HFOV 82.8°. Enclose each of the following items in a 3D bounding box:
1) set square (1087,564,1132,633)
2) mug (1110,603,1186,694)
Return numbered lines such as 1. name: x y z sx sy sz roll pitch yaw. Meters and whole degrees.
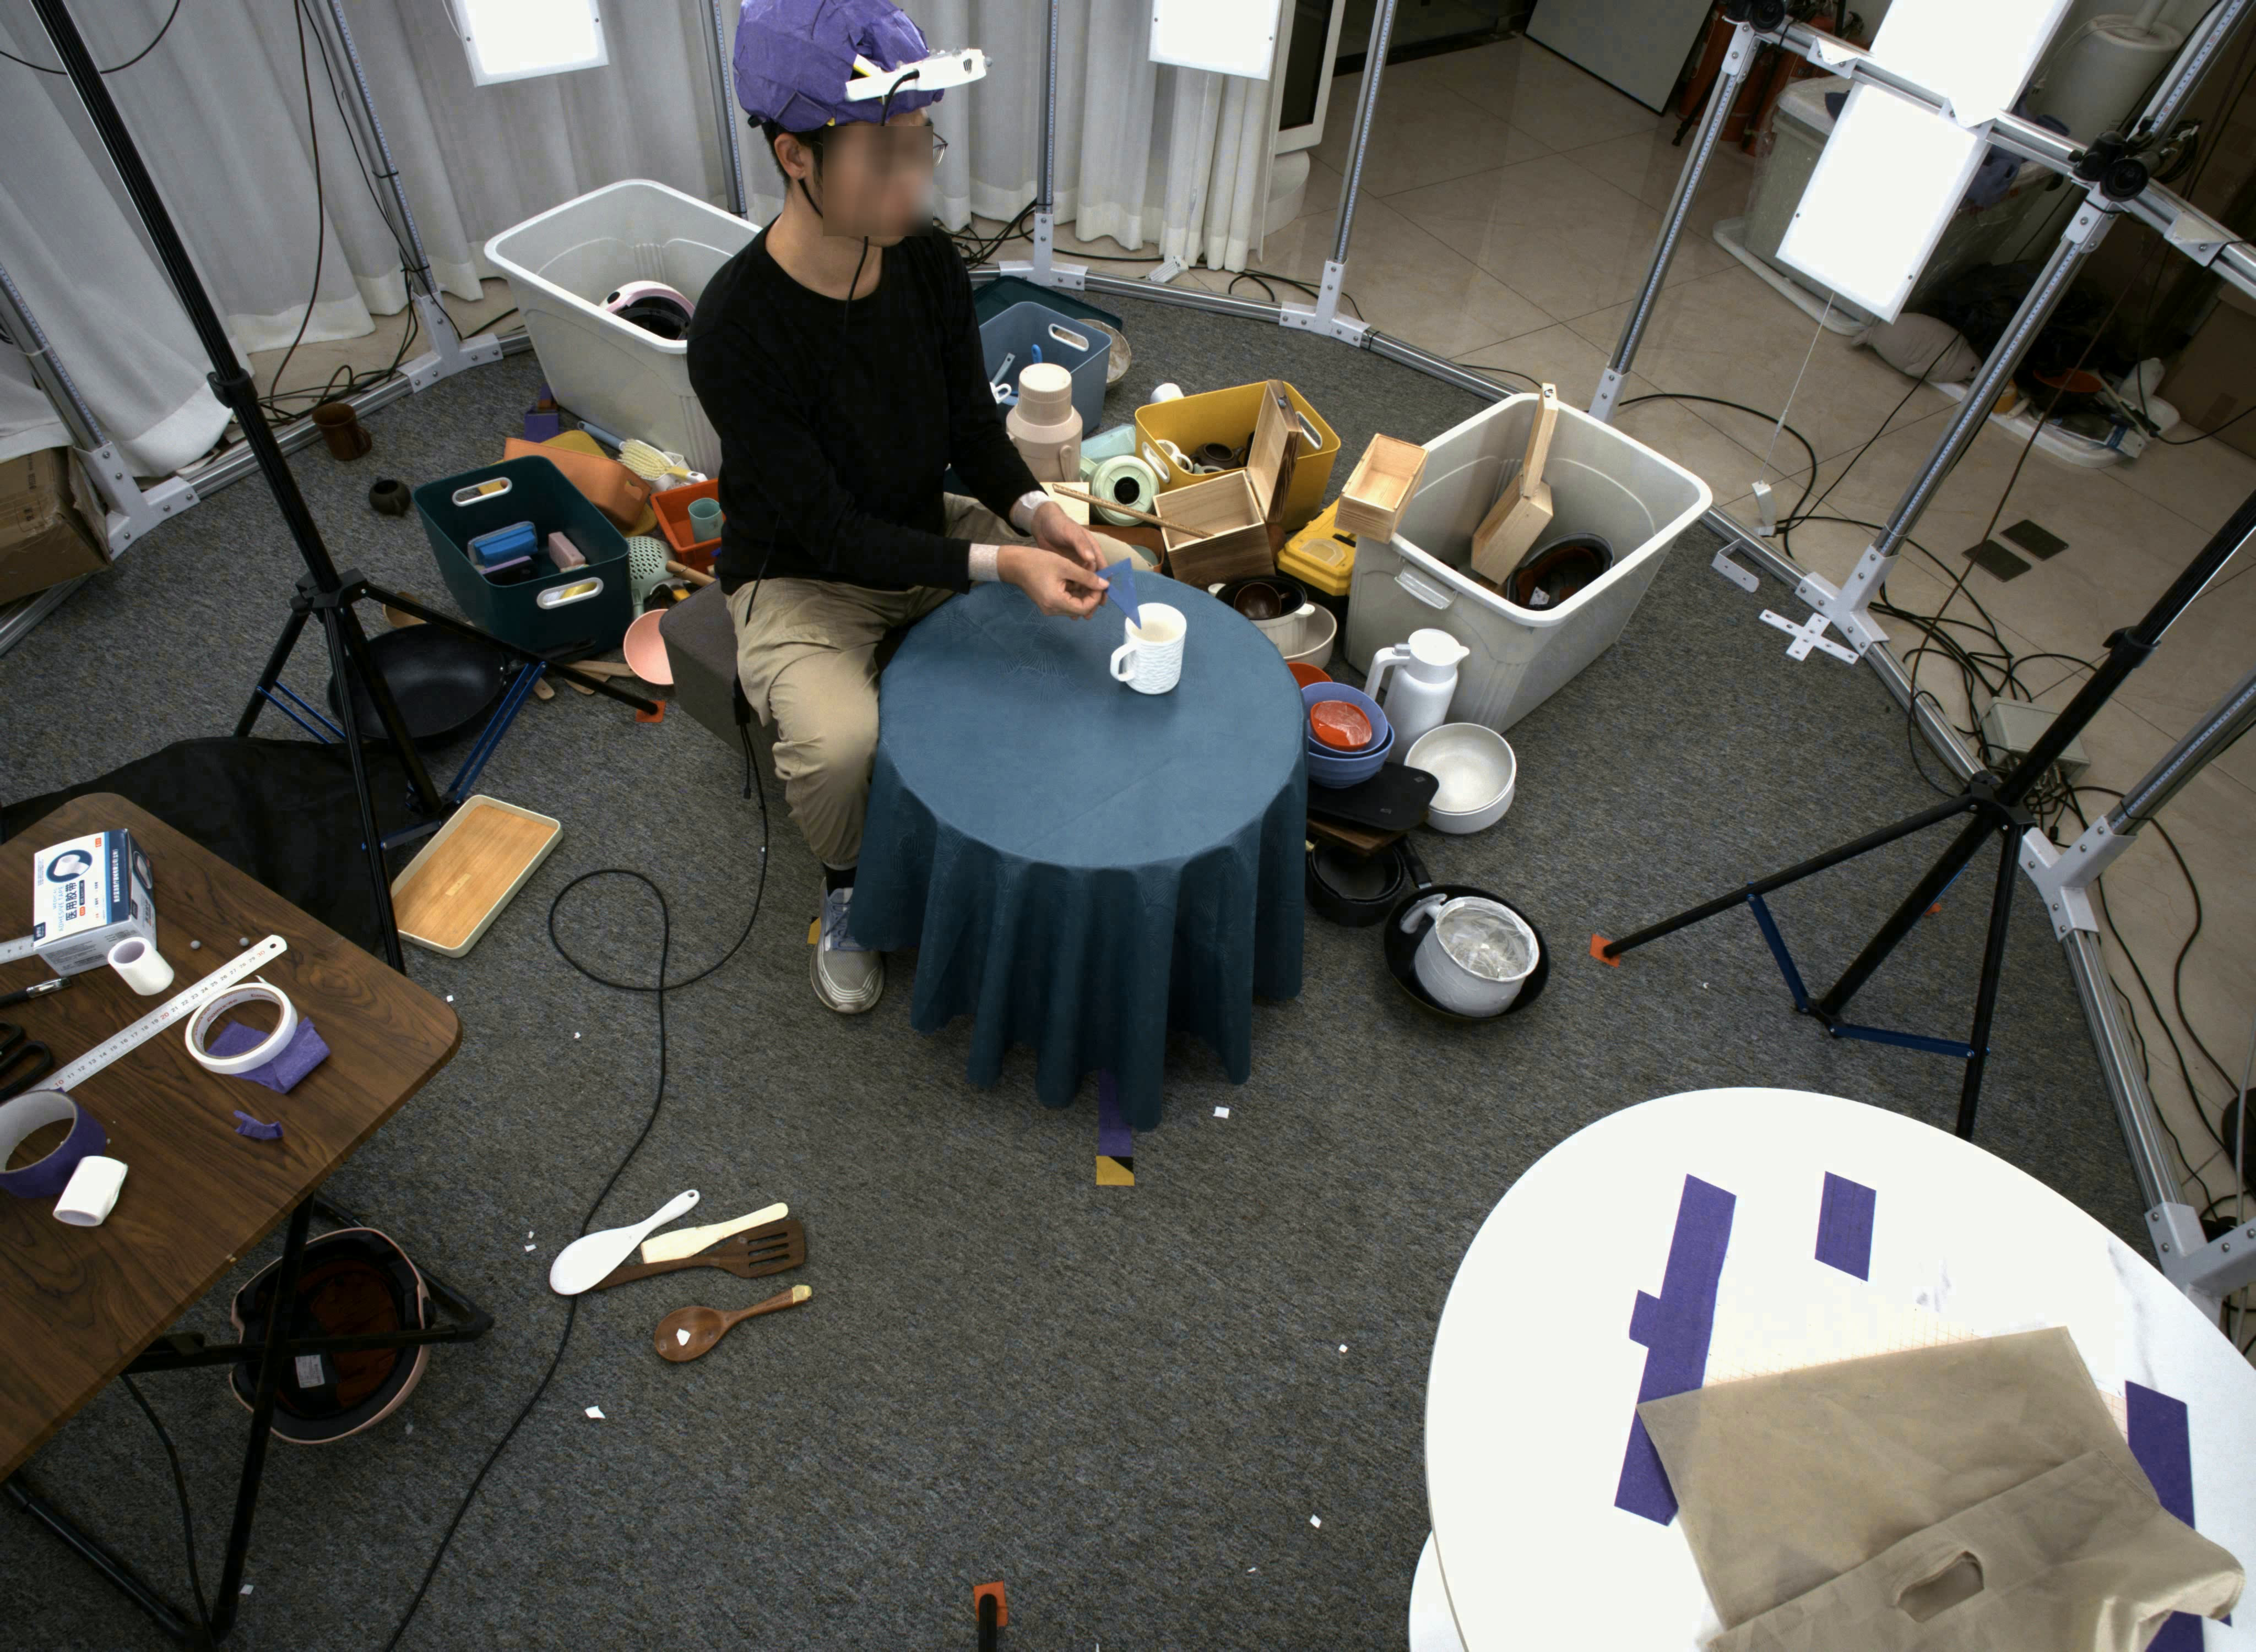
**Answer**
1. set square: -0.026 -0.317 1.774 0.061 0.006 0.135 2 54 -7
2. mug: 0.024 -0.243 1.816 0.119 0.099 0.086 -31 58 -27
